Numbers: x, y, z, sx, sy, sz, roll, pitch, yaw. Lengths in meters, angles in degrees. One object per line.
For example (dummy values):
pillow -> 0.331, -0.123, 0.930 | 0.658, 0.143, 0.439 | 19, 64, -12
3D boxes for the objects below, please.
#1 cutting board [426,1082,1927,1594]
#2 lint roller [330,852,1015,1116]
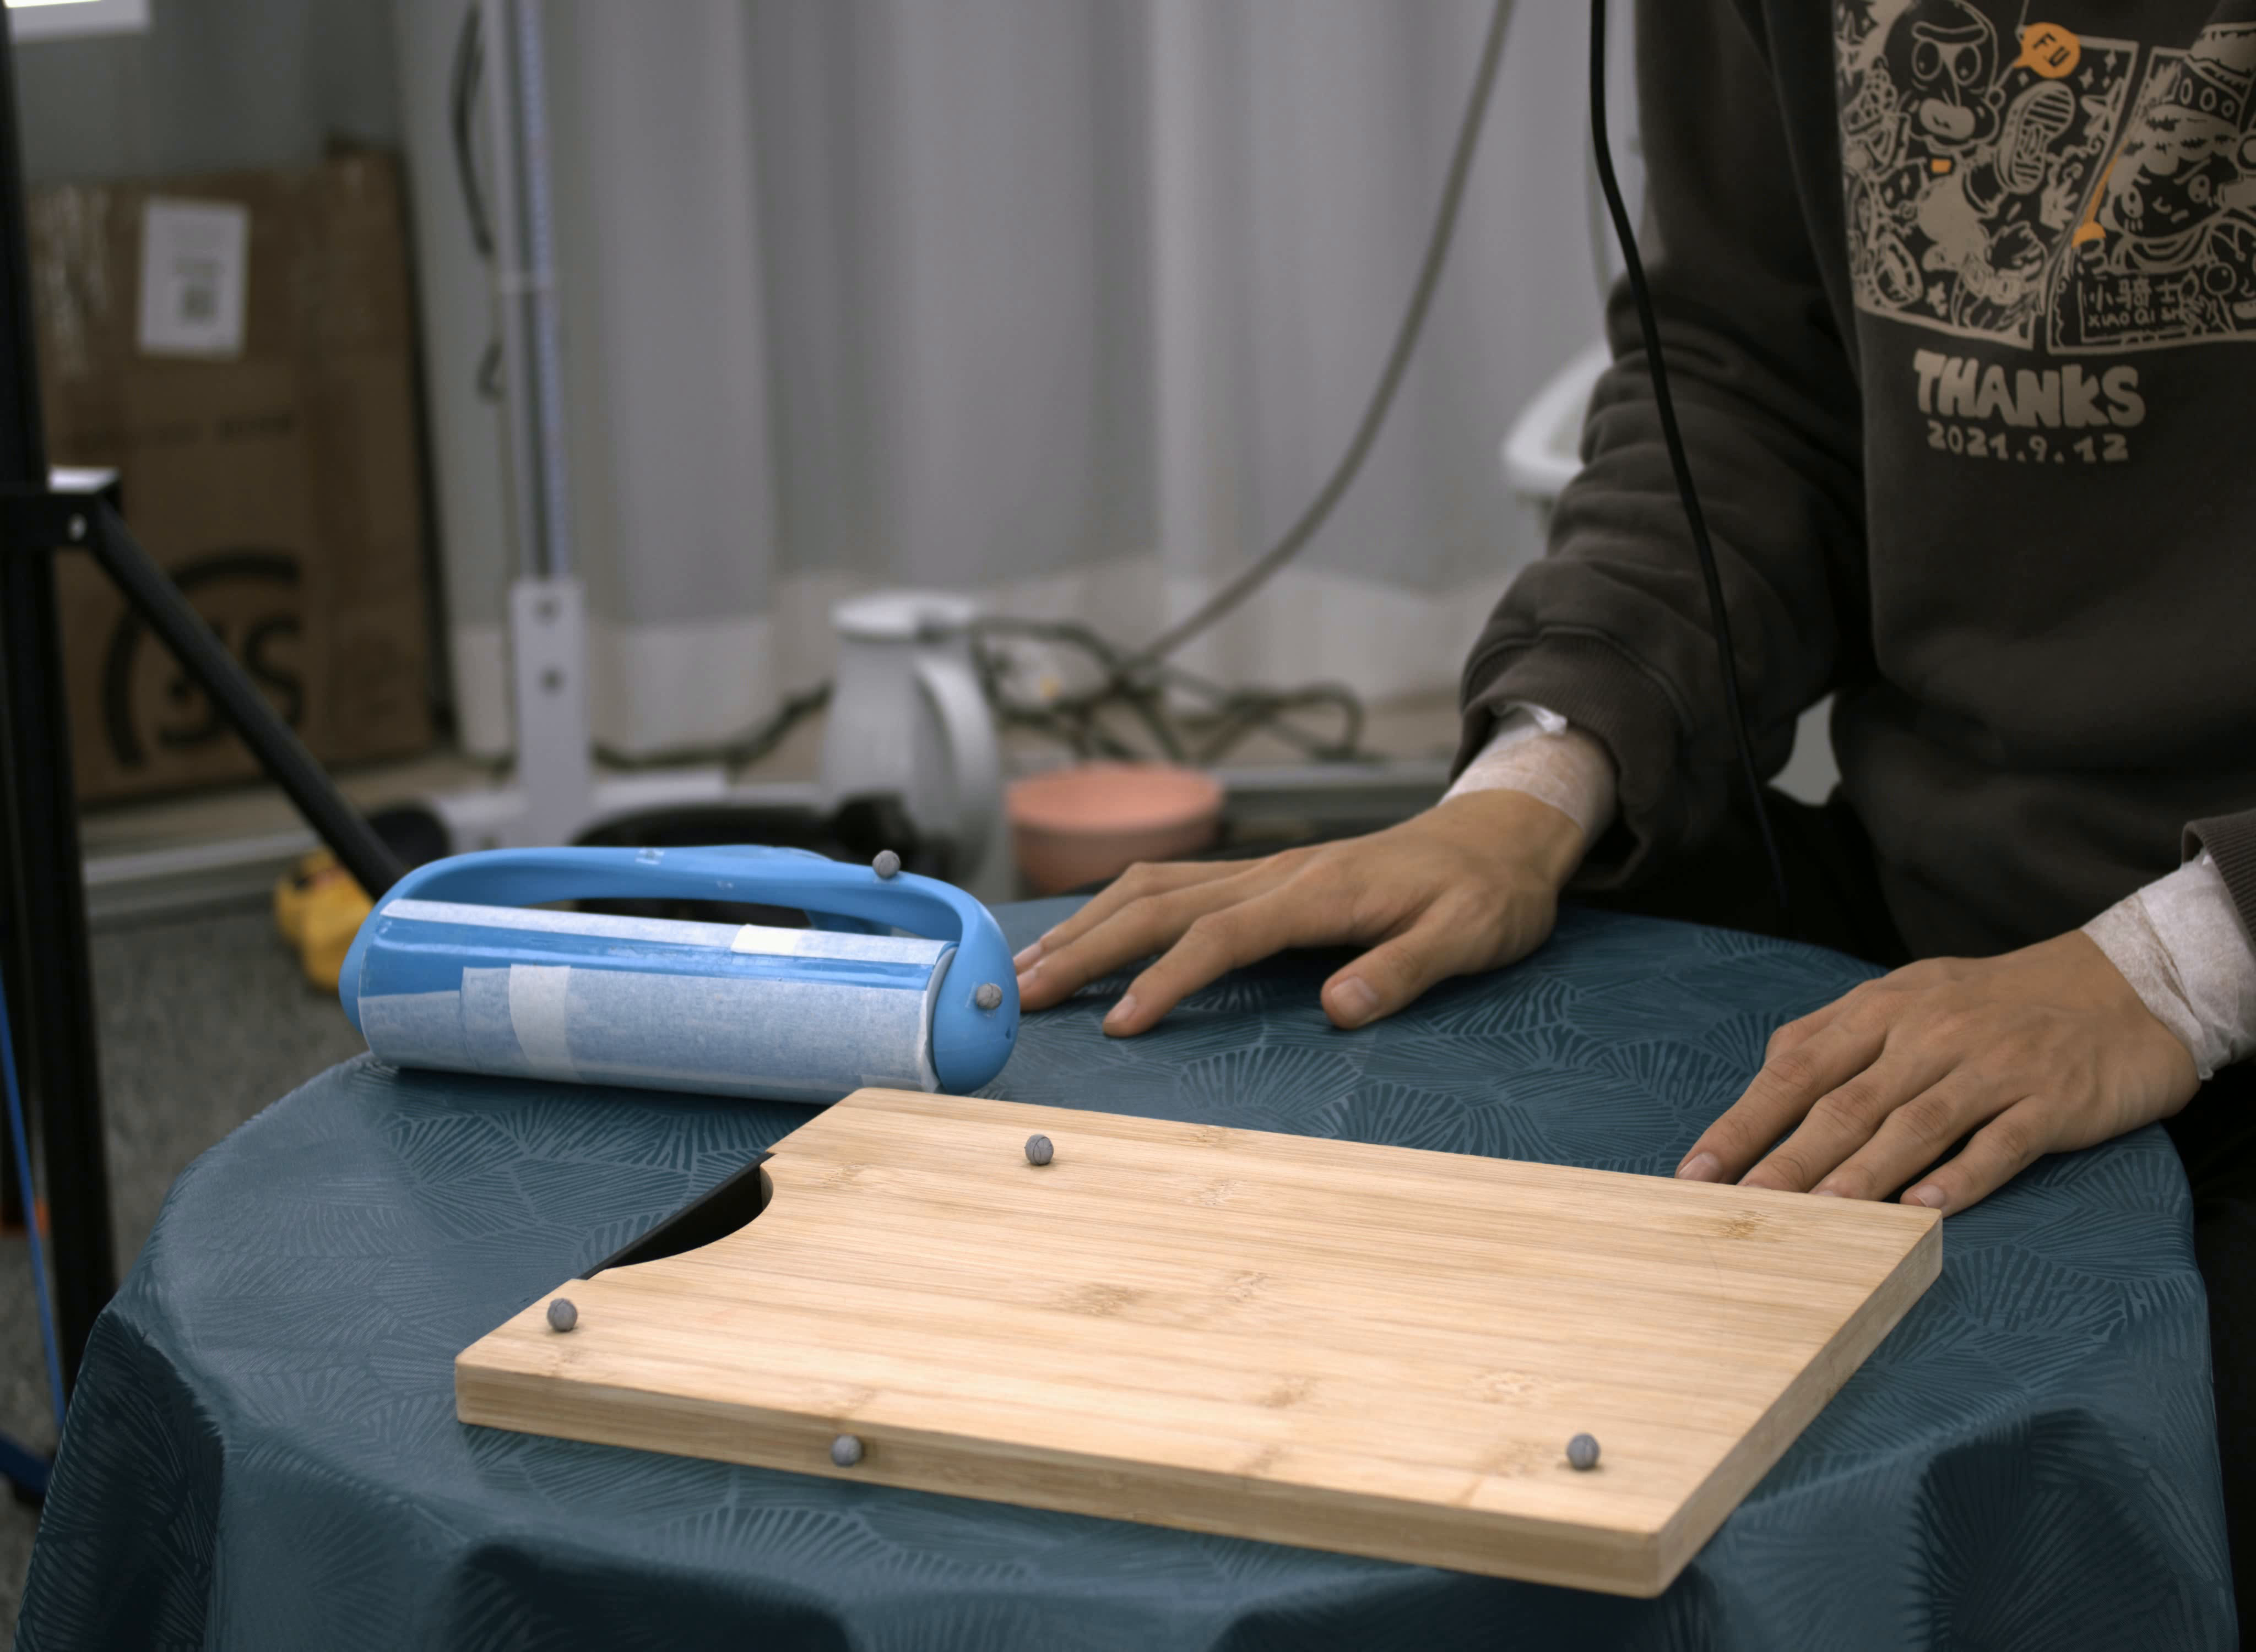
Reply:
cutting board -> 0.018, 0.132, 1.443 | 0.354, 0.023, 0.247 | 5, 17, 25
lint roller -> -0.128, 0.039, 1.723 | 0.231, 0.068, 0.178 | 2, 17, 18
